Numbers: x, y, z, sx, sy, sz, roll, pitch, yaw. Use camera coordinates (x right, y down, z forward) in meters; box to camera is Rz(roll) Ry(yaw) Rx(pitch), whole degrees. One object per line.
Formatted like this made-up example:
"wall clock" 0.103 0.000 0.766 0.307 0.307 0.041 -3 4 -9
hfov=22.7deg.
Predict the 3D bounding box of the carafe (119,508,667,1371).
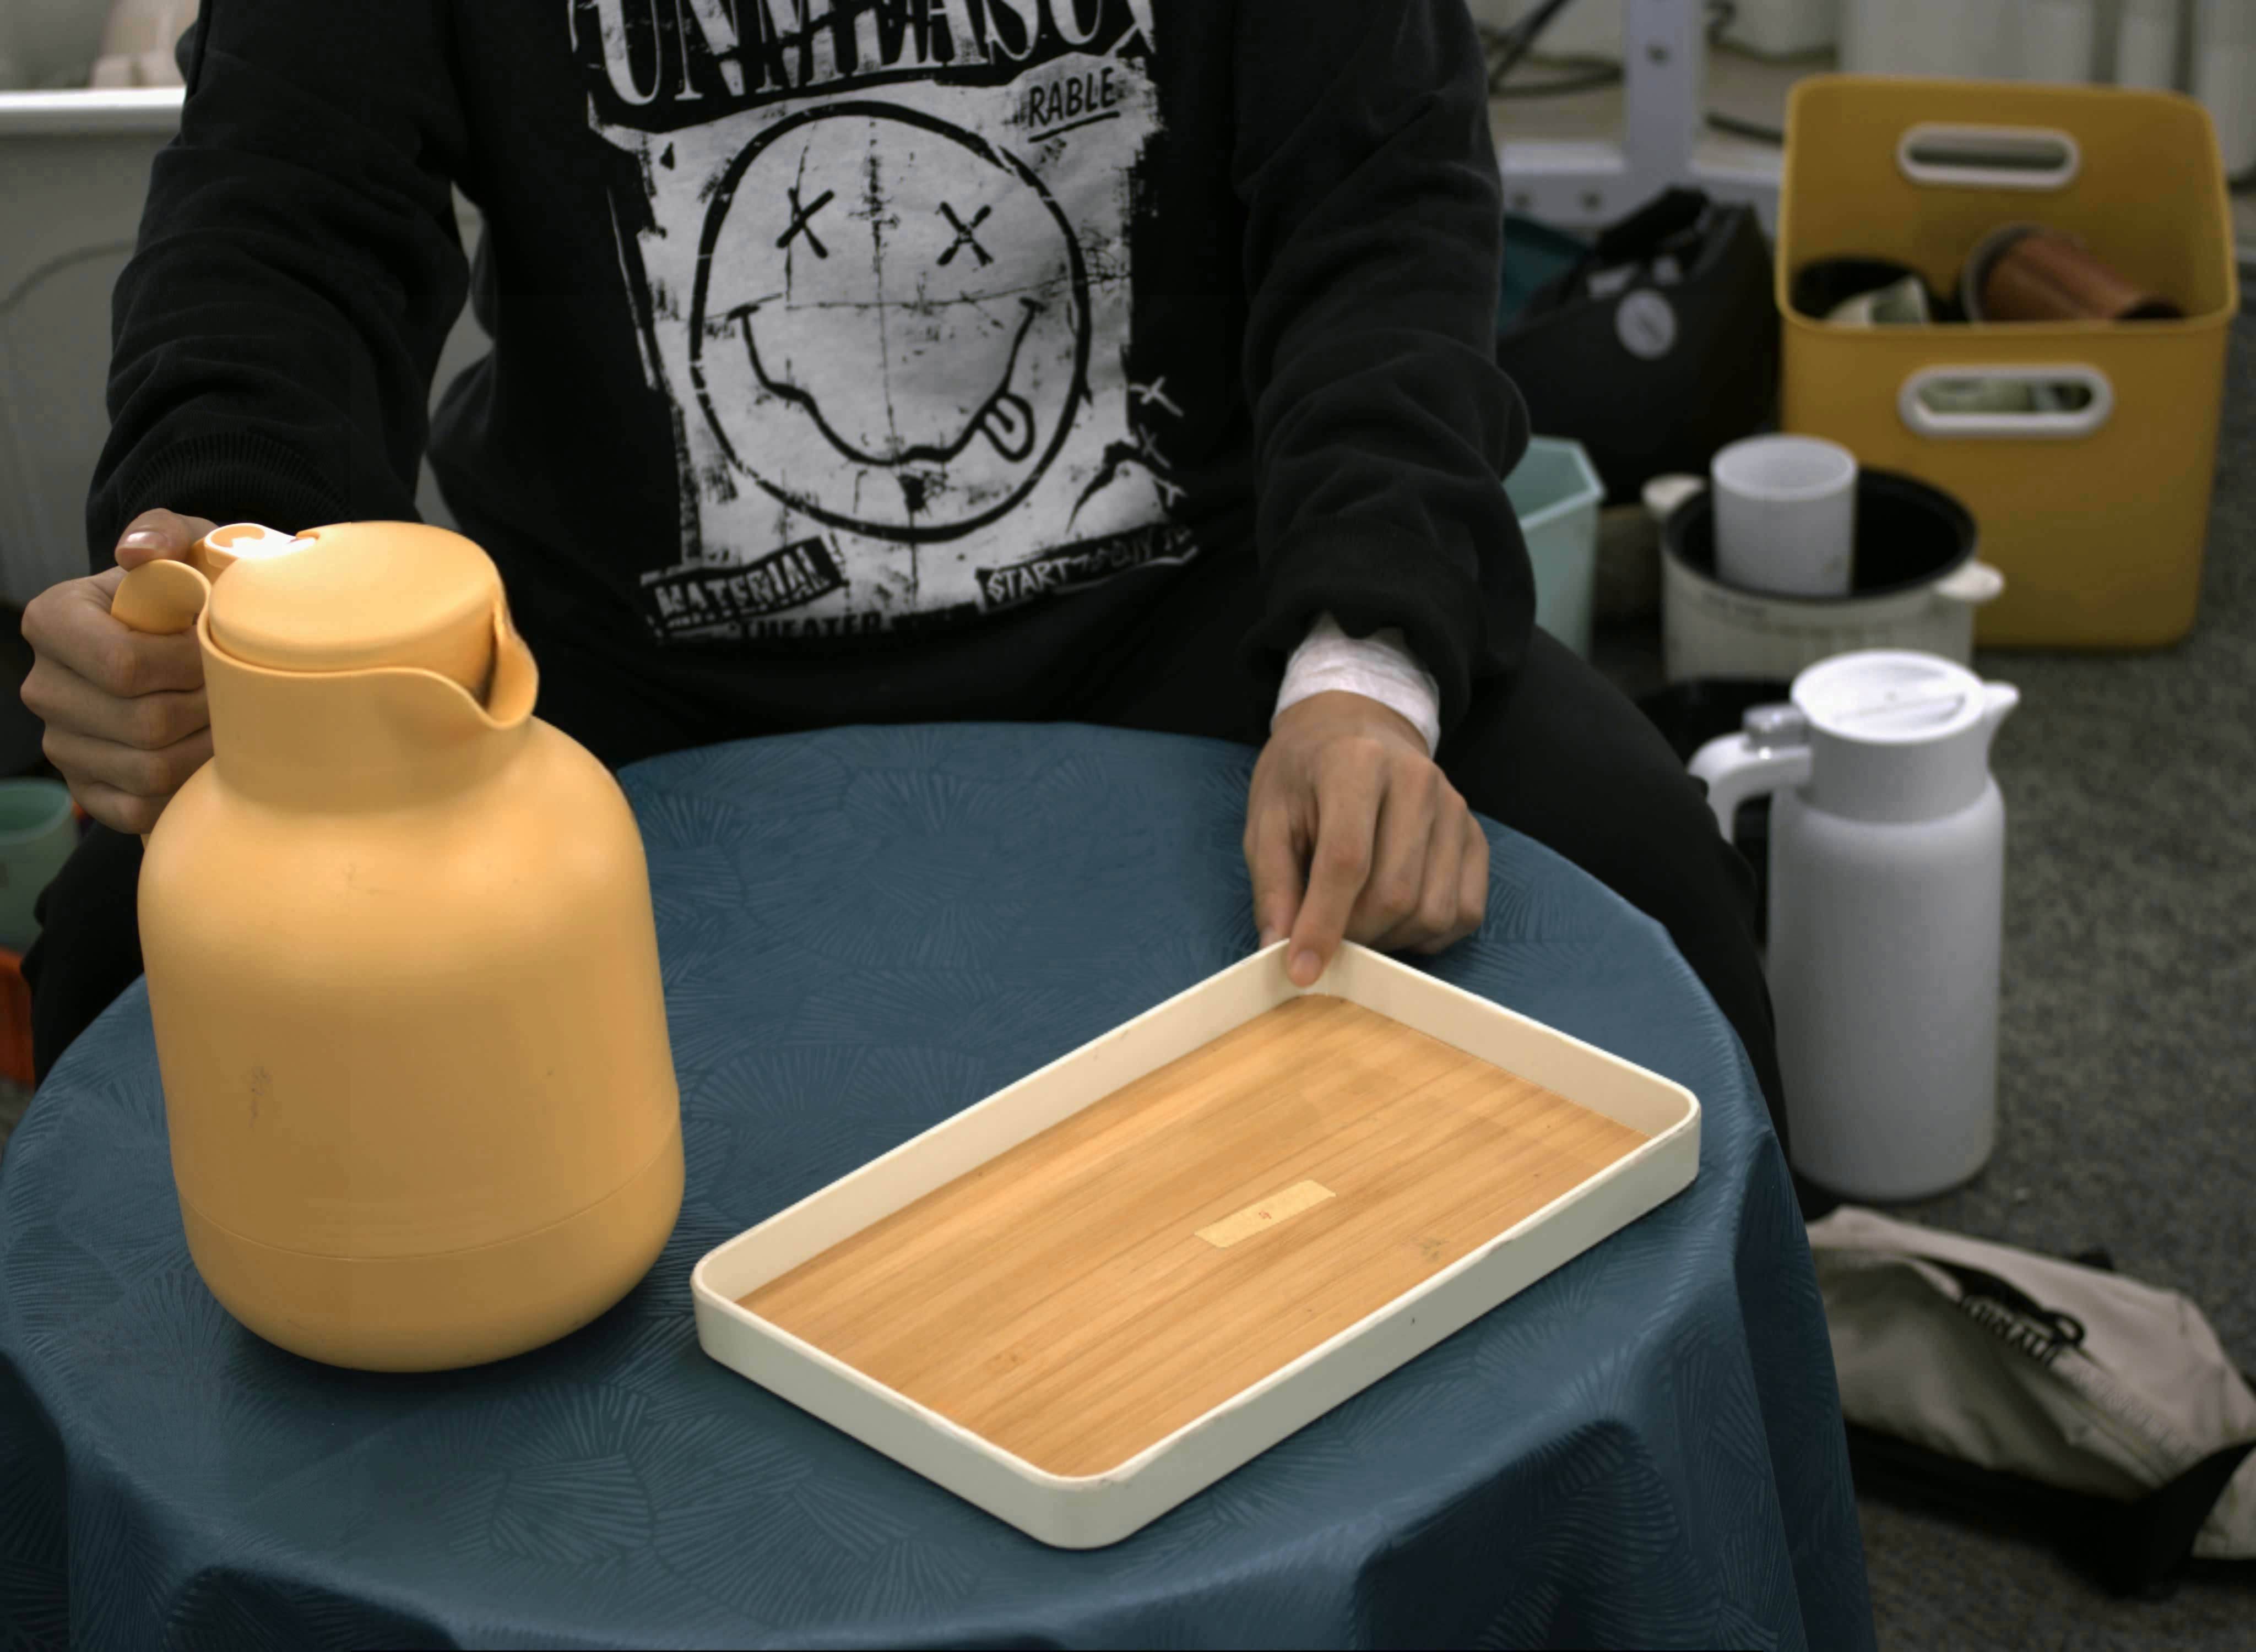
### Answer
"carafe" -0.244 0.025 1.786 0.165 0.258 0.202 -23 34 -38

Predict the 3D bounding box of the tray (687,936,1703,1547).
"tray" 0.025 0.128 1.815 0.191 0.027 0.304 23 37 40
